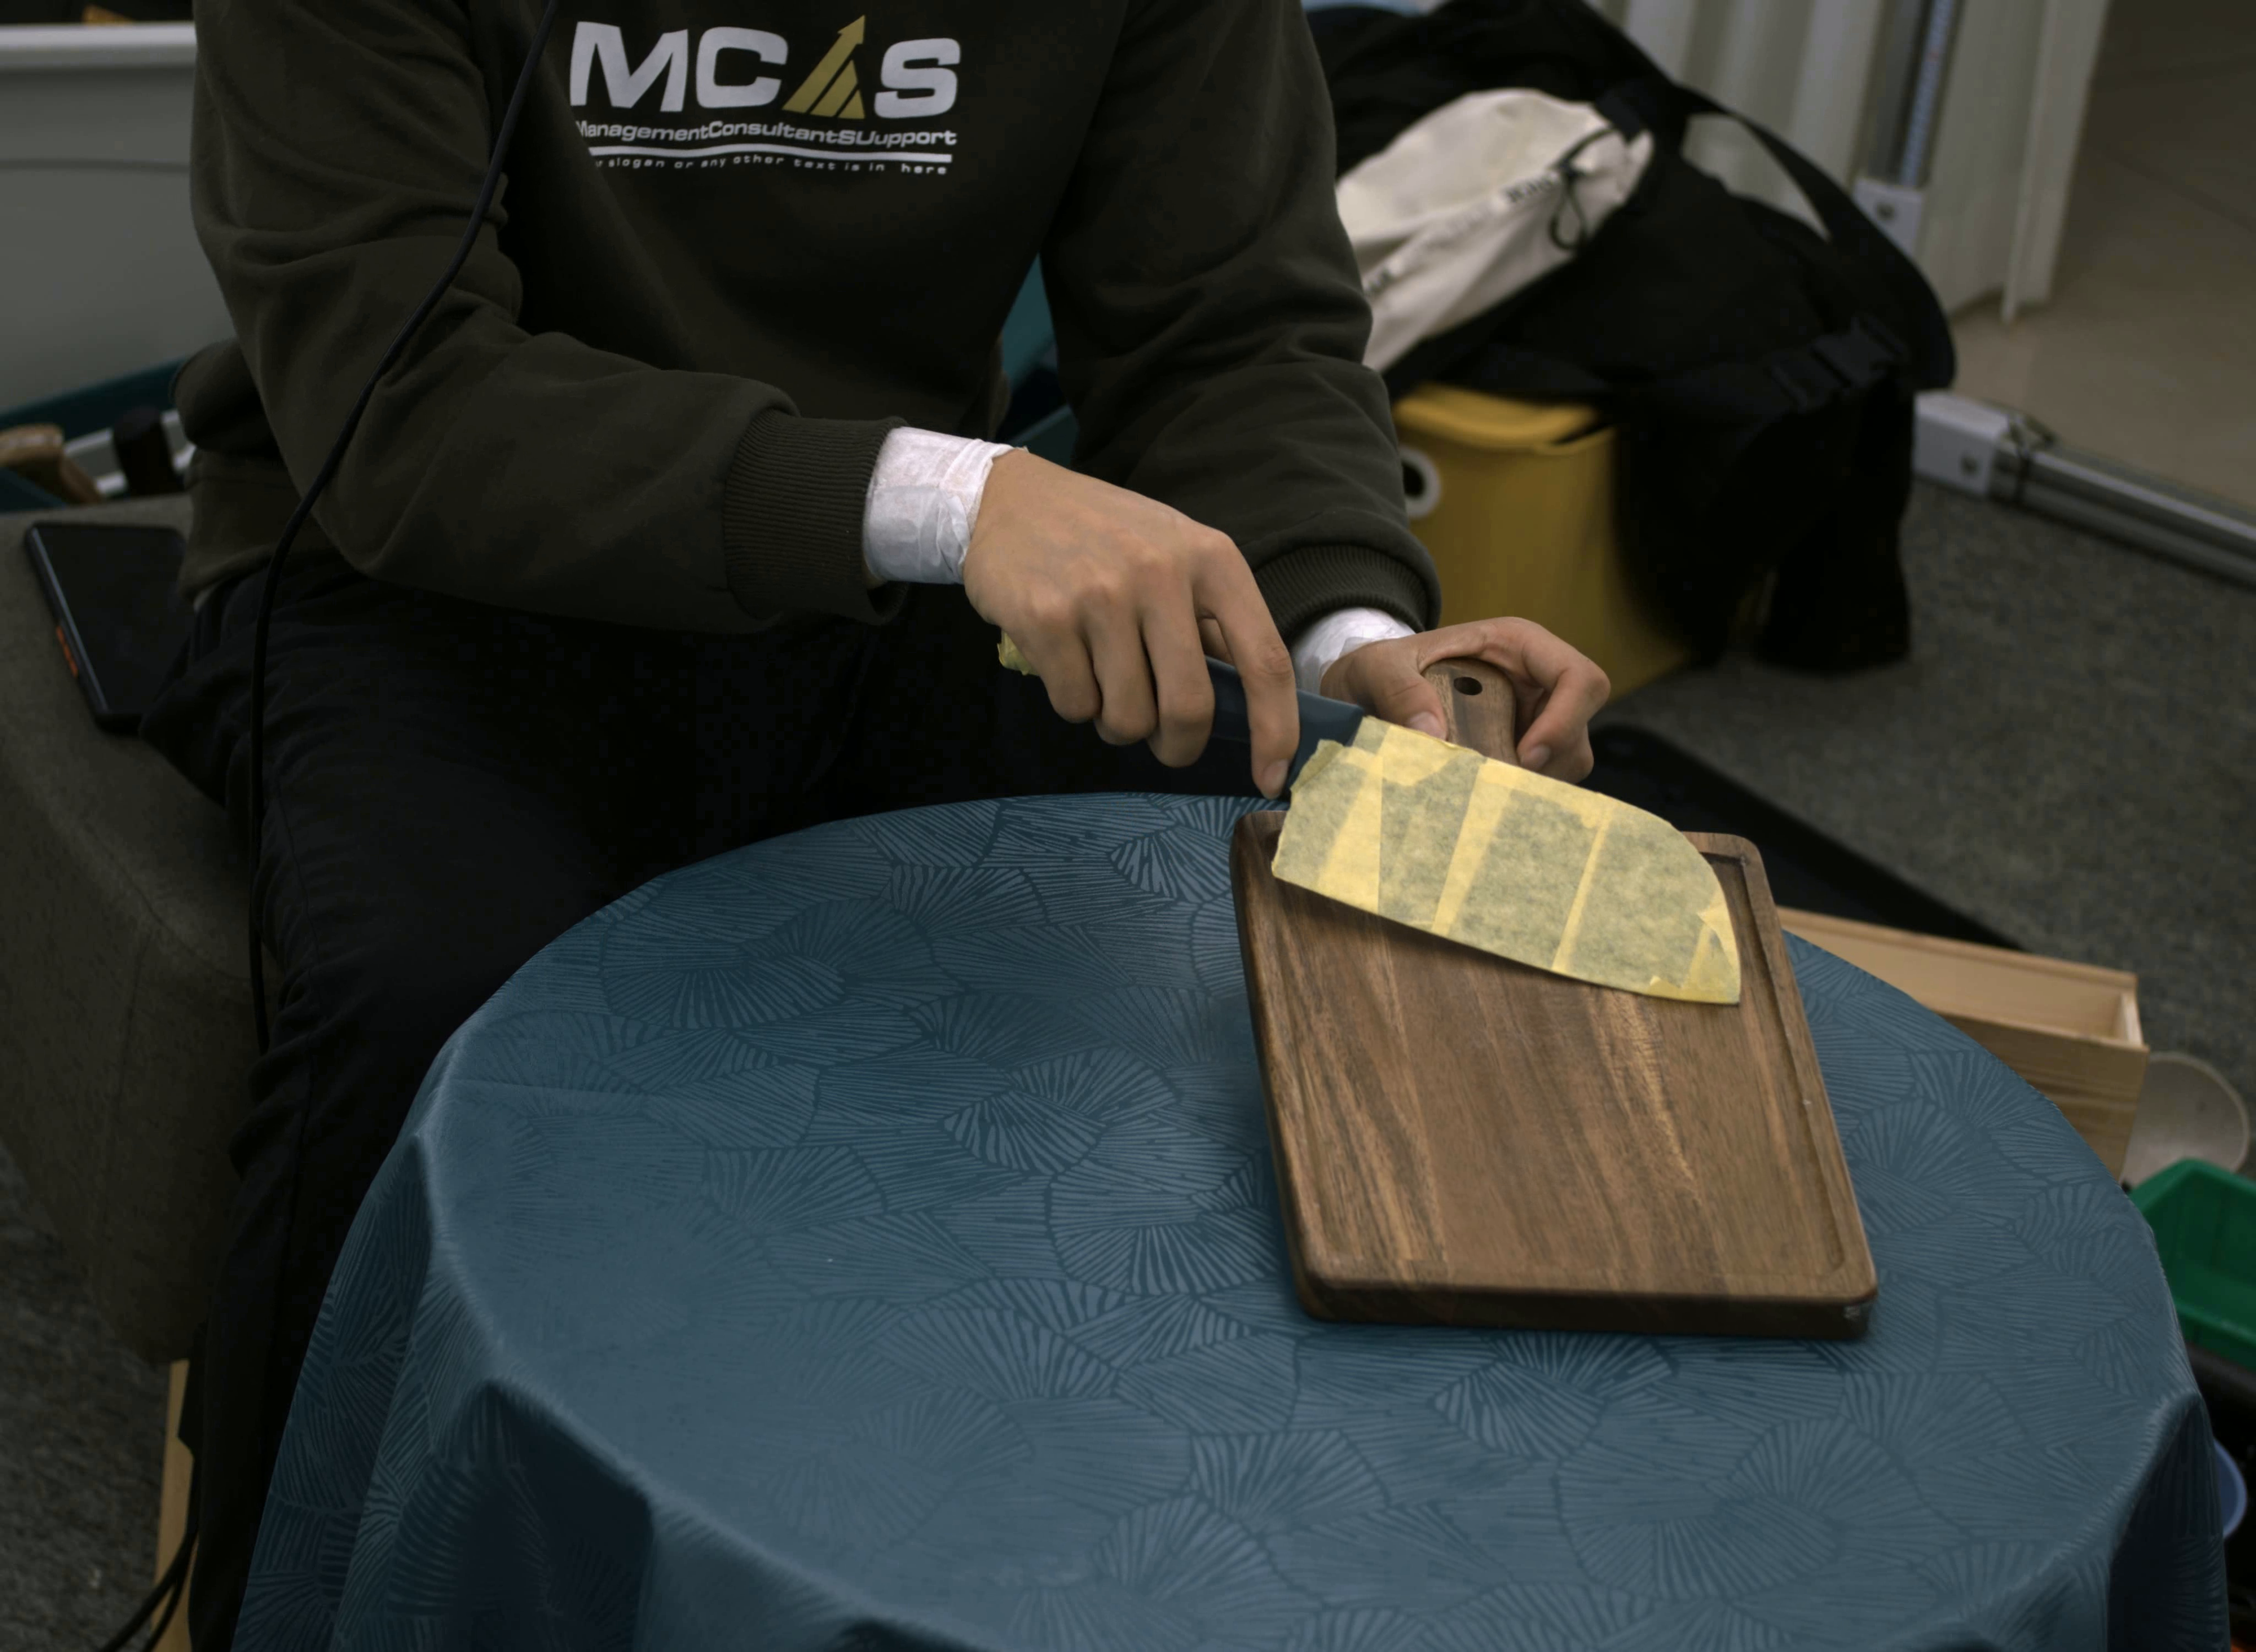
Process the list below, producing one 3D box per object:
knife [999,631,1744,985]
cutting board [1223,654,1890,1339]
[{"bbox_3d":[0.083,-0.007,1.900,0.289,0.027,0.081,20,63,7],"label":"knife"},{"bbox_3d":[0.139,0.052,1.884,0.200,0.023,0.355,3,38,-8],"label":"cutting board"}]
